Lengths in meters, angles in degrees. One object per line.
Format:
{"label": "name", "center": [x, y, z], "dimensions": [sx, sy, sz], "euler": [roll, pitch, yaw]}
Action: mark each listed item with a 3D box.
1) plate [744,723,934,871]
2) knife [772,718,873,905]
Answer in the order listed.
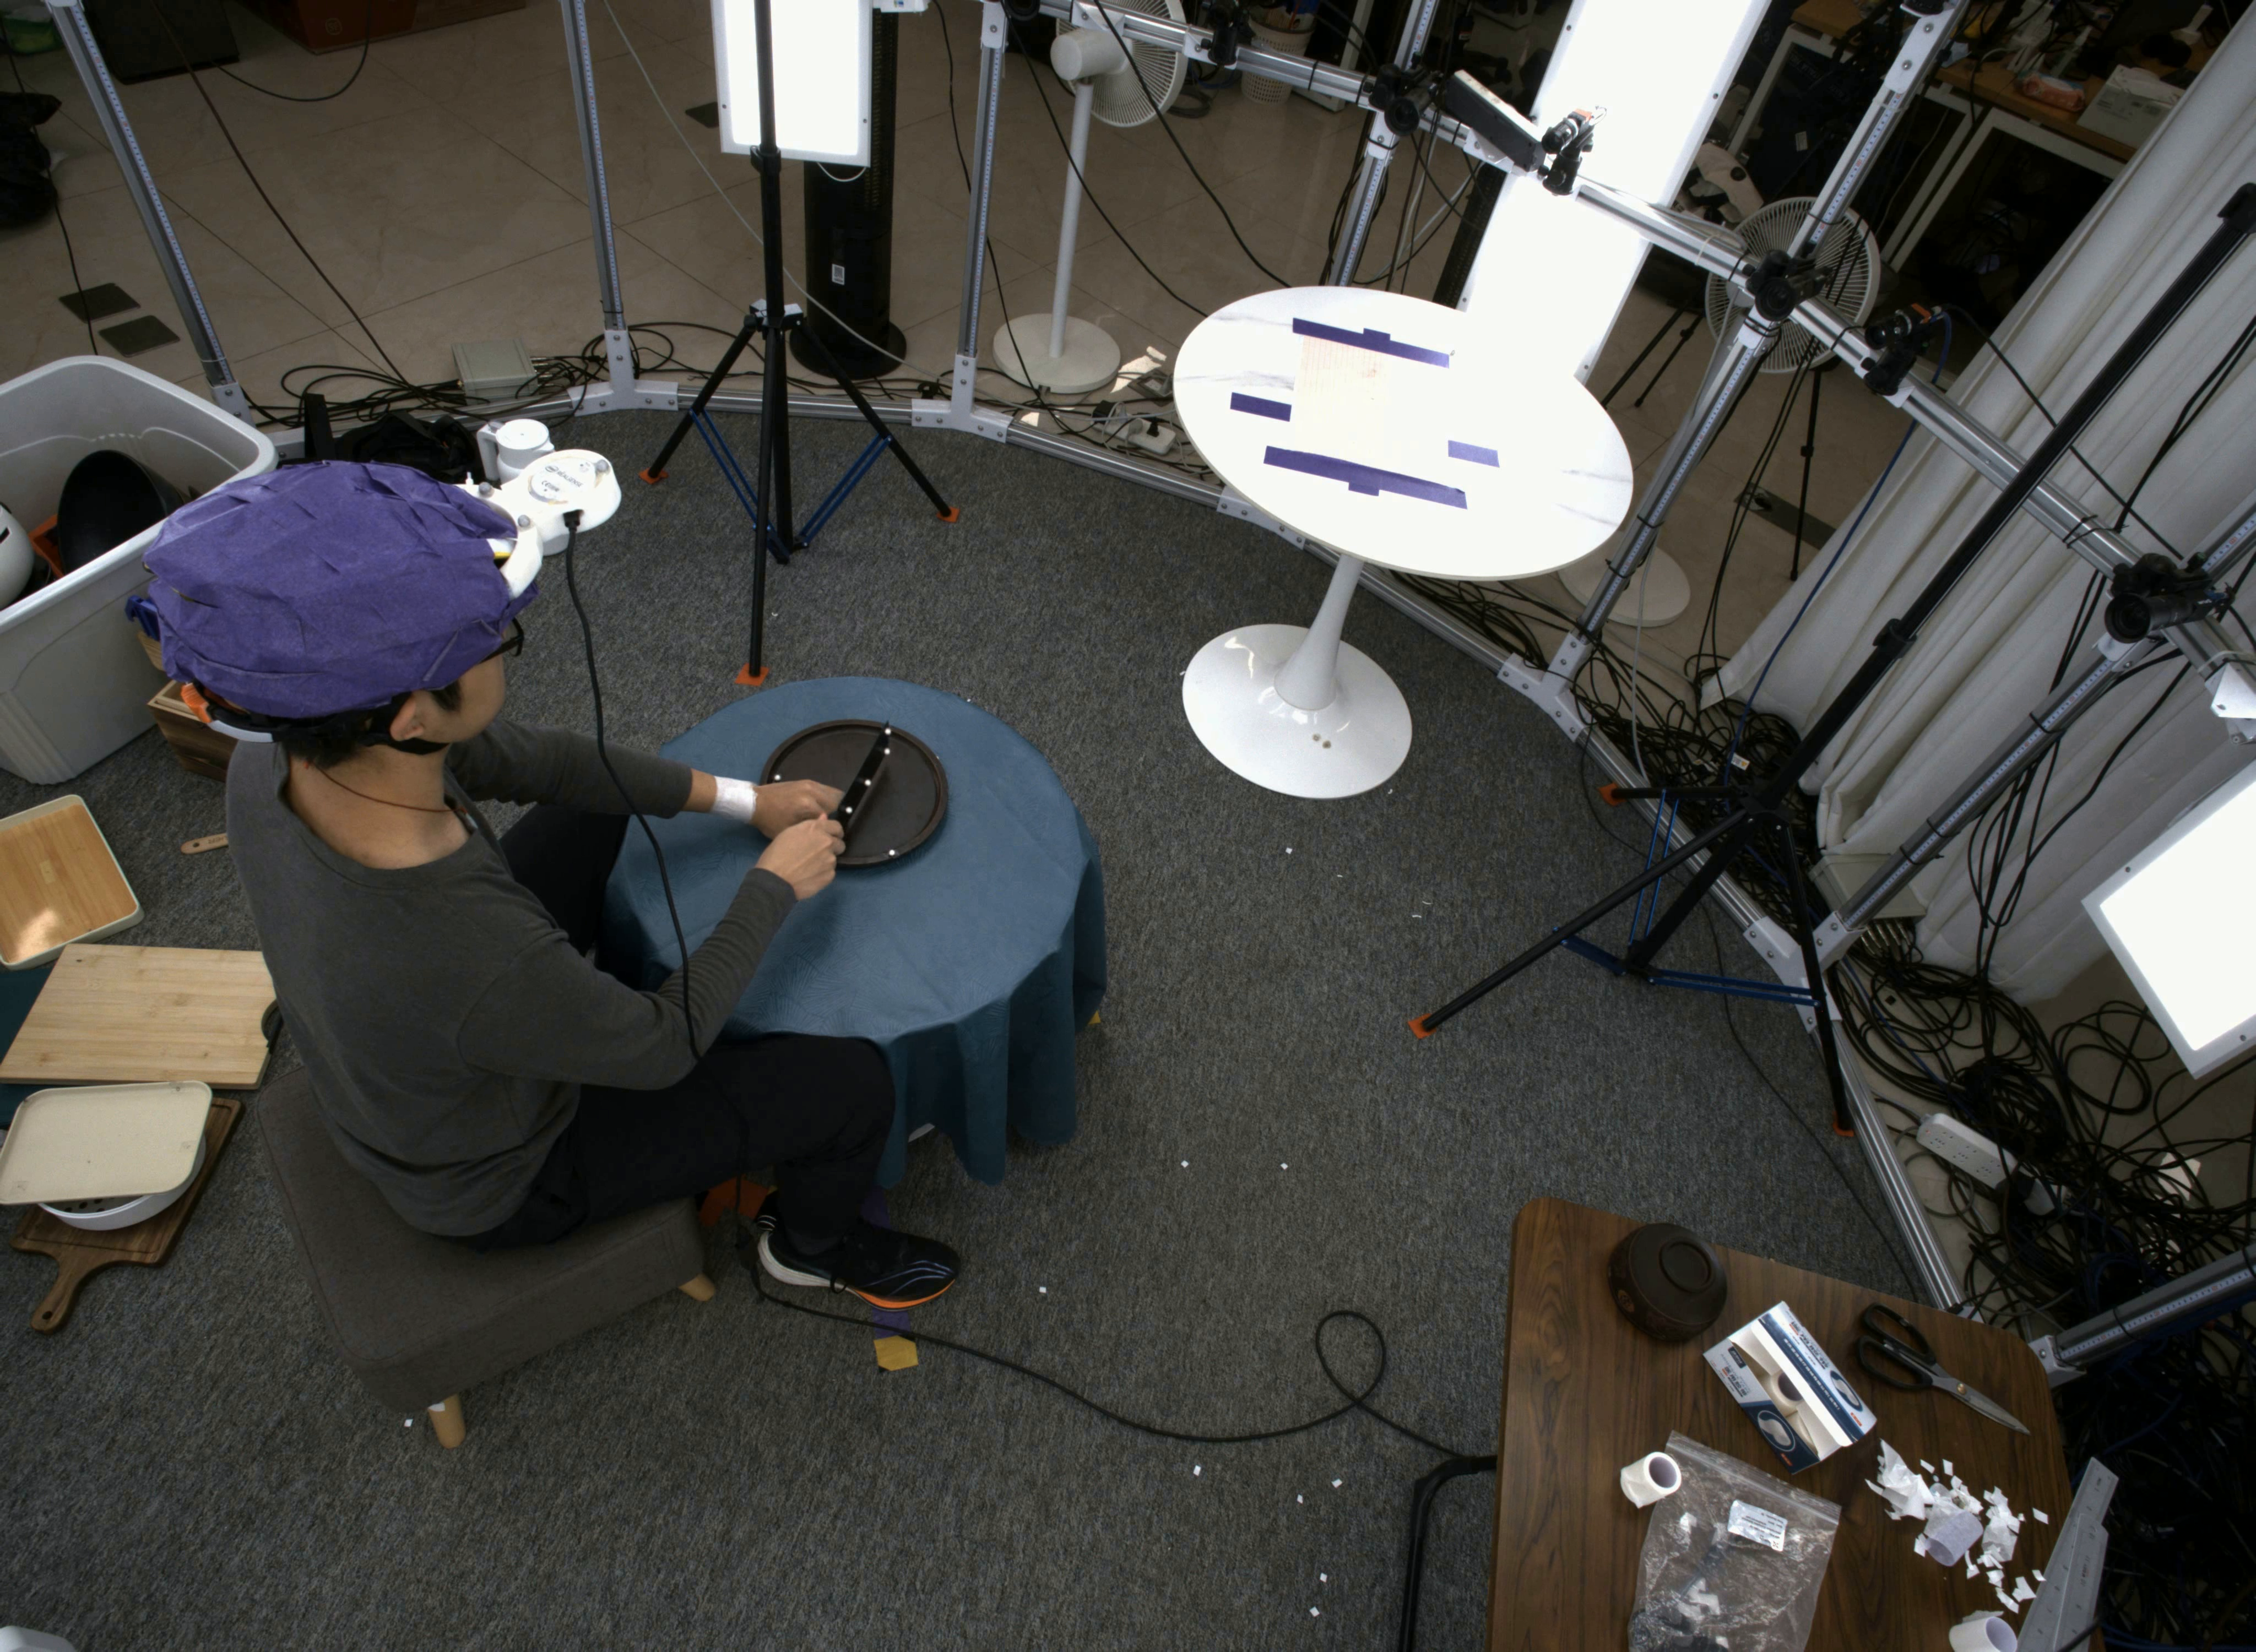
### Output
{"label": "plate", "center": [-0.391, -0.042, 1.761], "dimensions": [0.254, 0.029, 0.250], "euler": [8, 53, -9]}
{"label": "knife", "center": [-0.387, -0.019, 1.672], "dimensions": [0.020, 0.083, 0.299], "euler": [16, 48, 4]}
